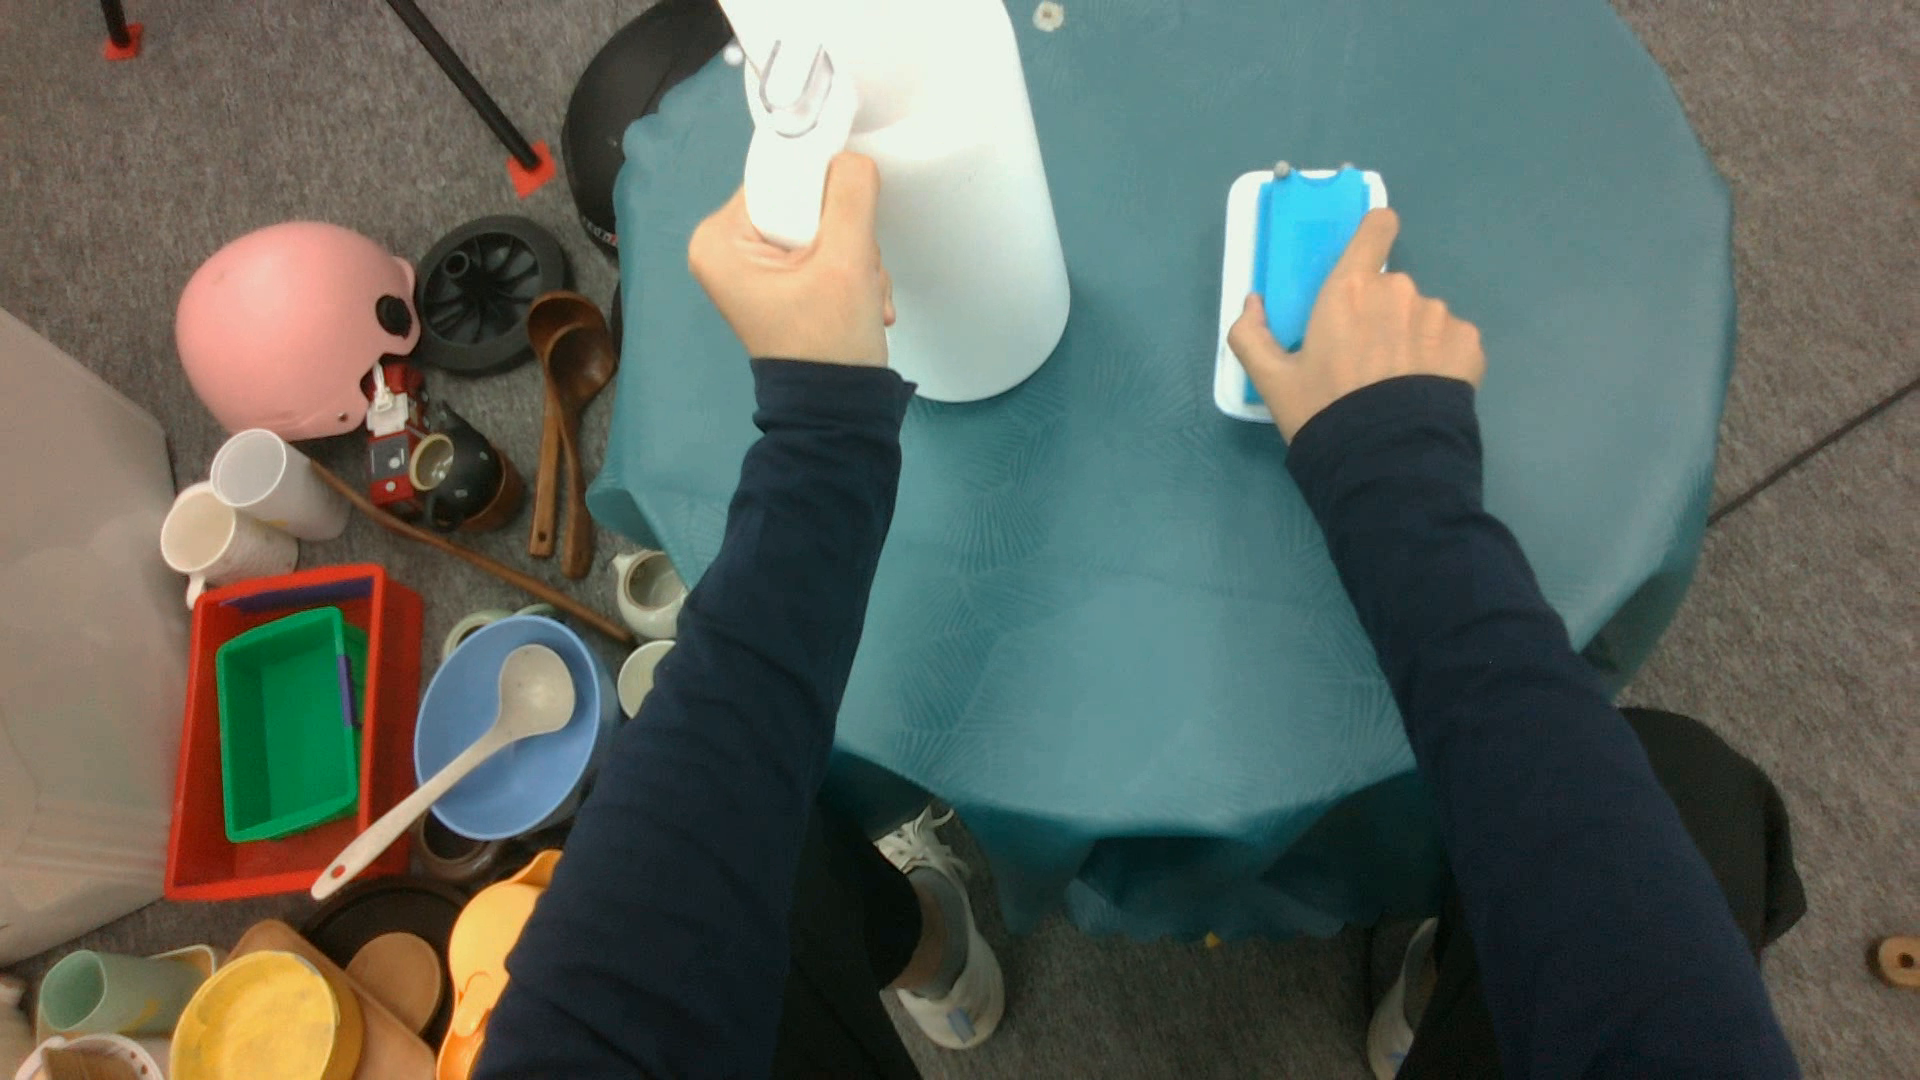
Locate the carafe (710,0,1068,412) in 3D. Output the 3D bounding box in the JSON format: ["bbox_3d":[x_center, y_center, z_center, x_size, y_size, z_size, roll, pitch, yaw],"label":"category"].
[{"bbox_3d":[-0.025,-0.154,0.656,0.124,0.268,0.173,9,71,14],"label":"carafe"}]

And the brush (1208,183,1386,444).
[{"bbox_3d":[0.171,-0.121,0.694,0.084,0.056,0.144,4,70,14],"label":"brush"}]
